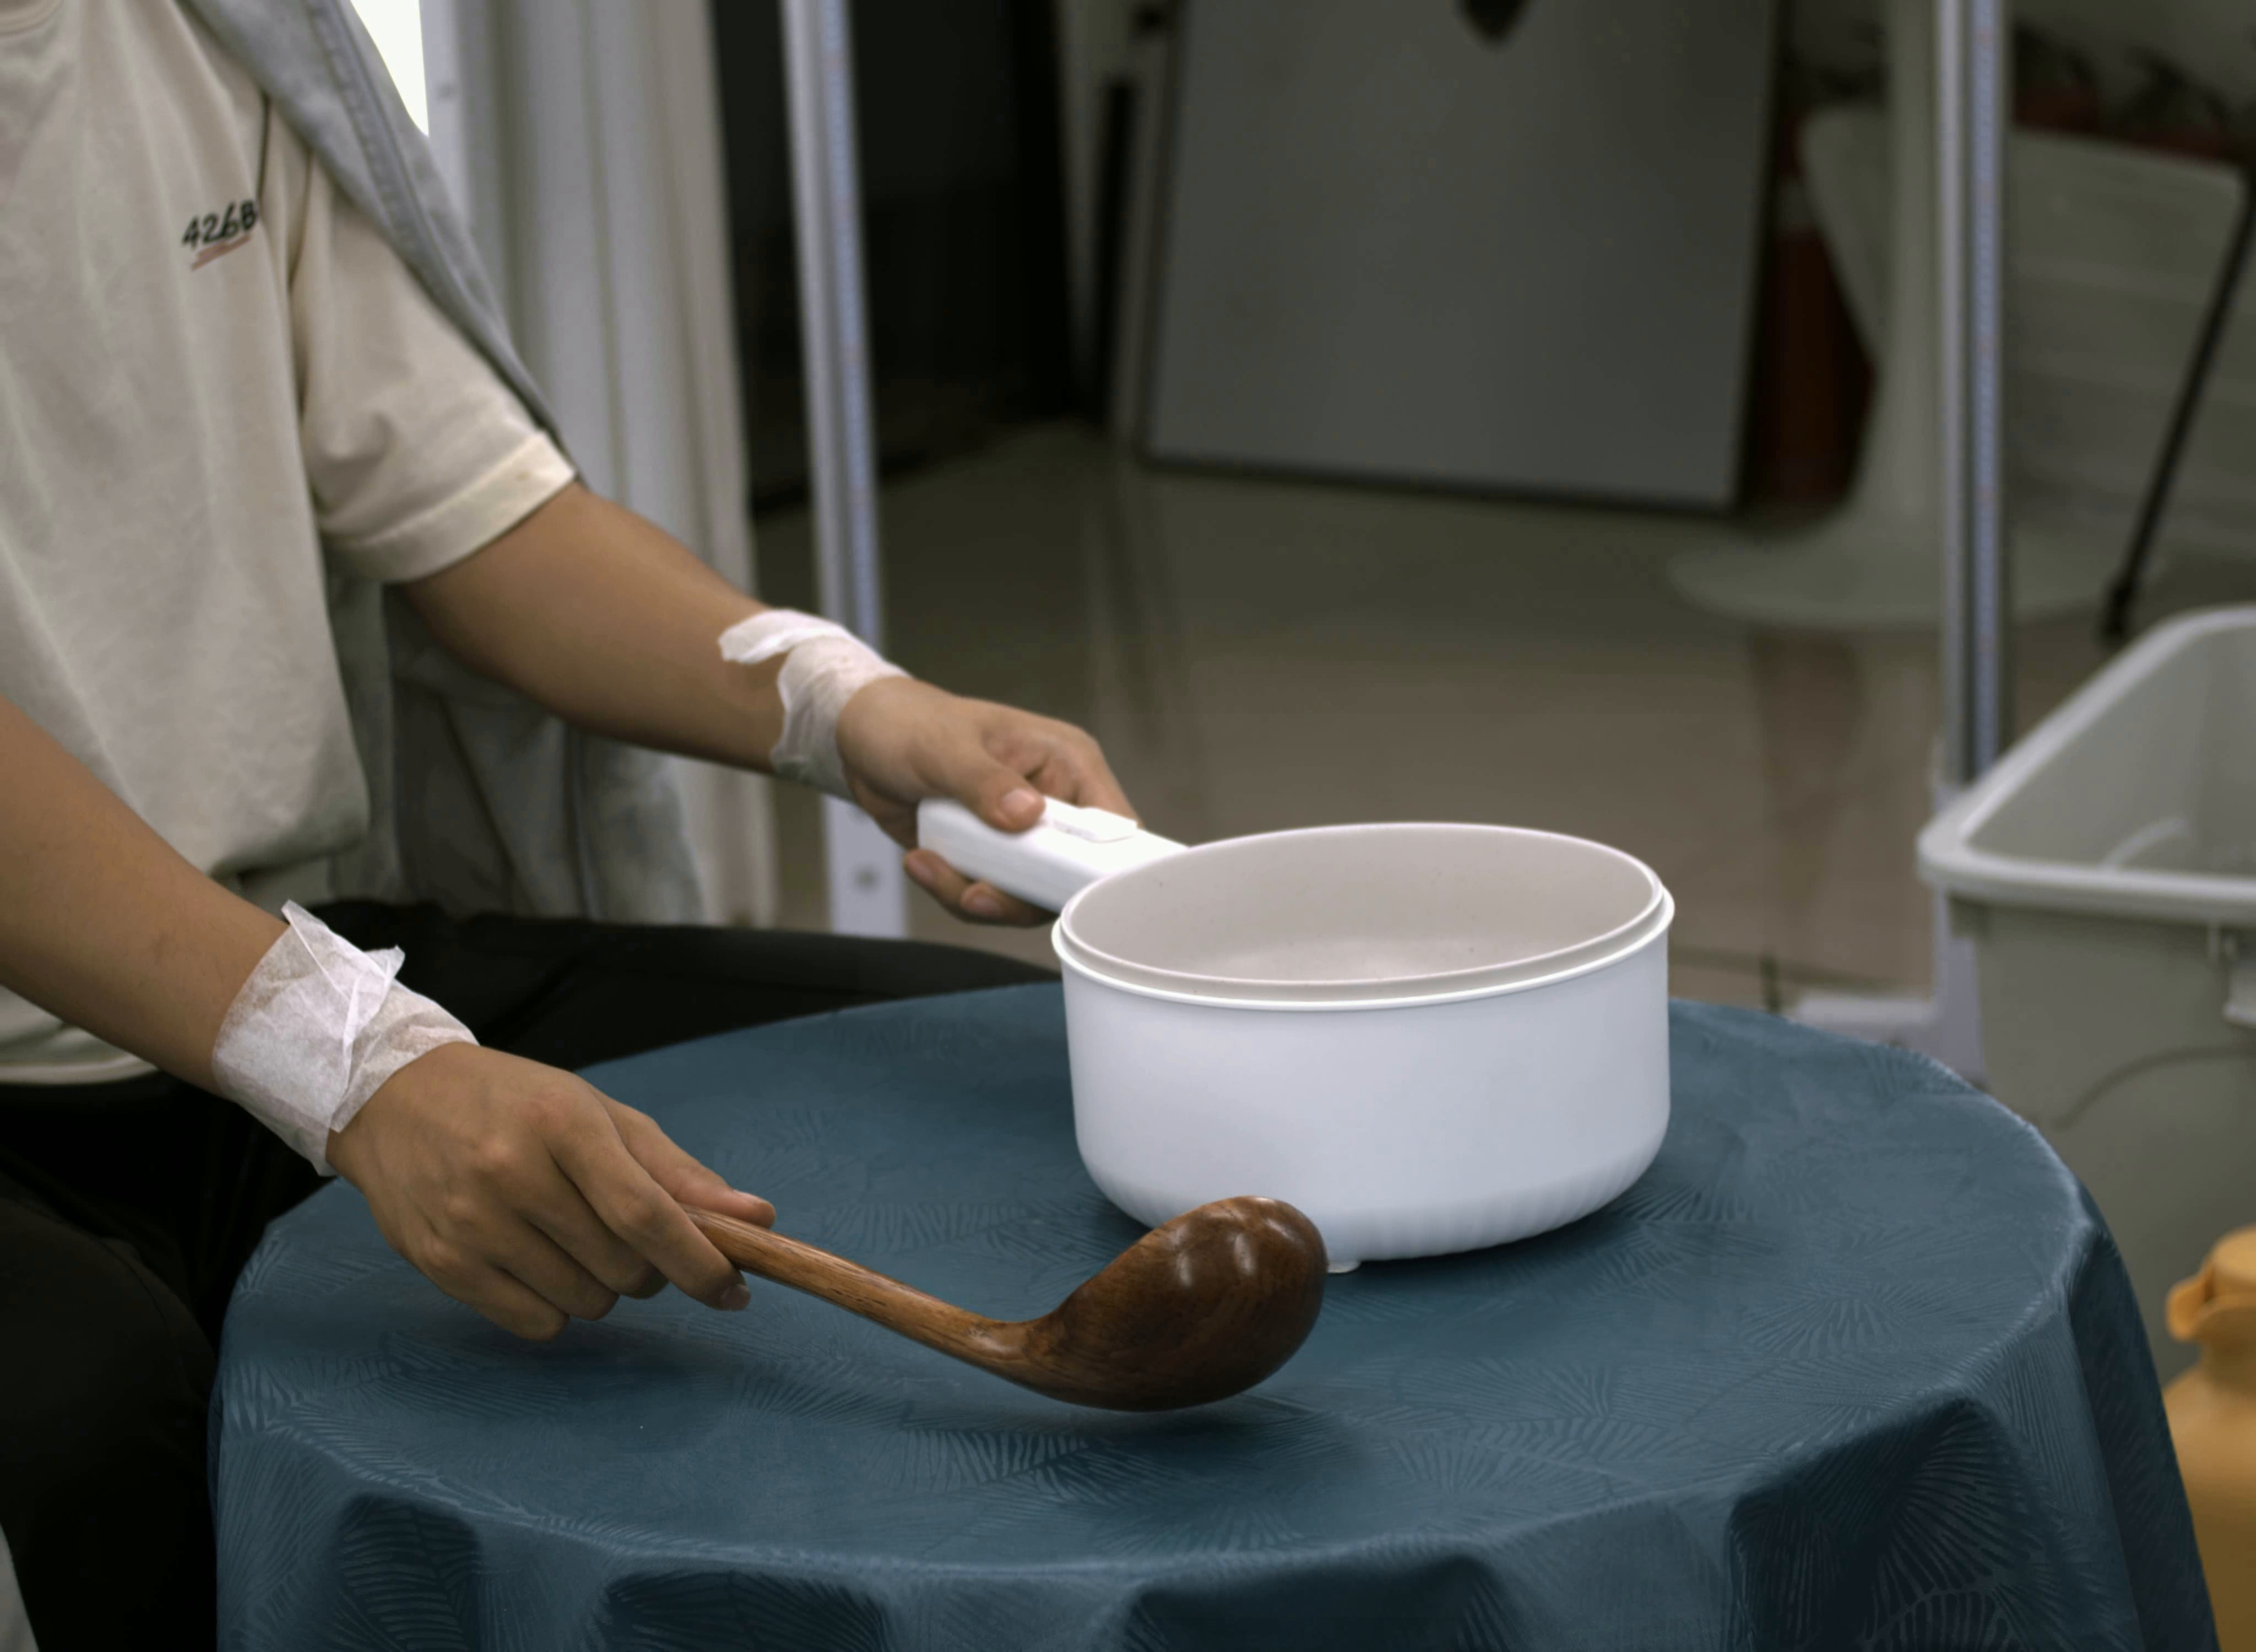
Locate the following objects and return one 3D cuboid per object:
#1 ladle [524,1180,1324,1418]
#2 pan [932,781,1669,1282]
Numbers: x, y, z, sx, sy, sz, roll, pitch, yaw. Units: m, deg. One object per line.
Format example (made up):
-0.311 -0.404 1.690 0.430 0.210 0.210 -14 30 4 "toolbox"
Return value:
-0.064 0.116 1.603 0.276 0.081 0.077 15 66 37 "ladle"
0.037 0.061 1.805 0.197 0.103 0.358 -13 16 -29 "pan"
